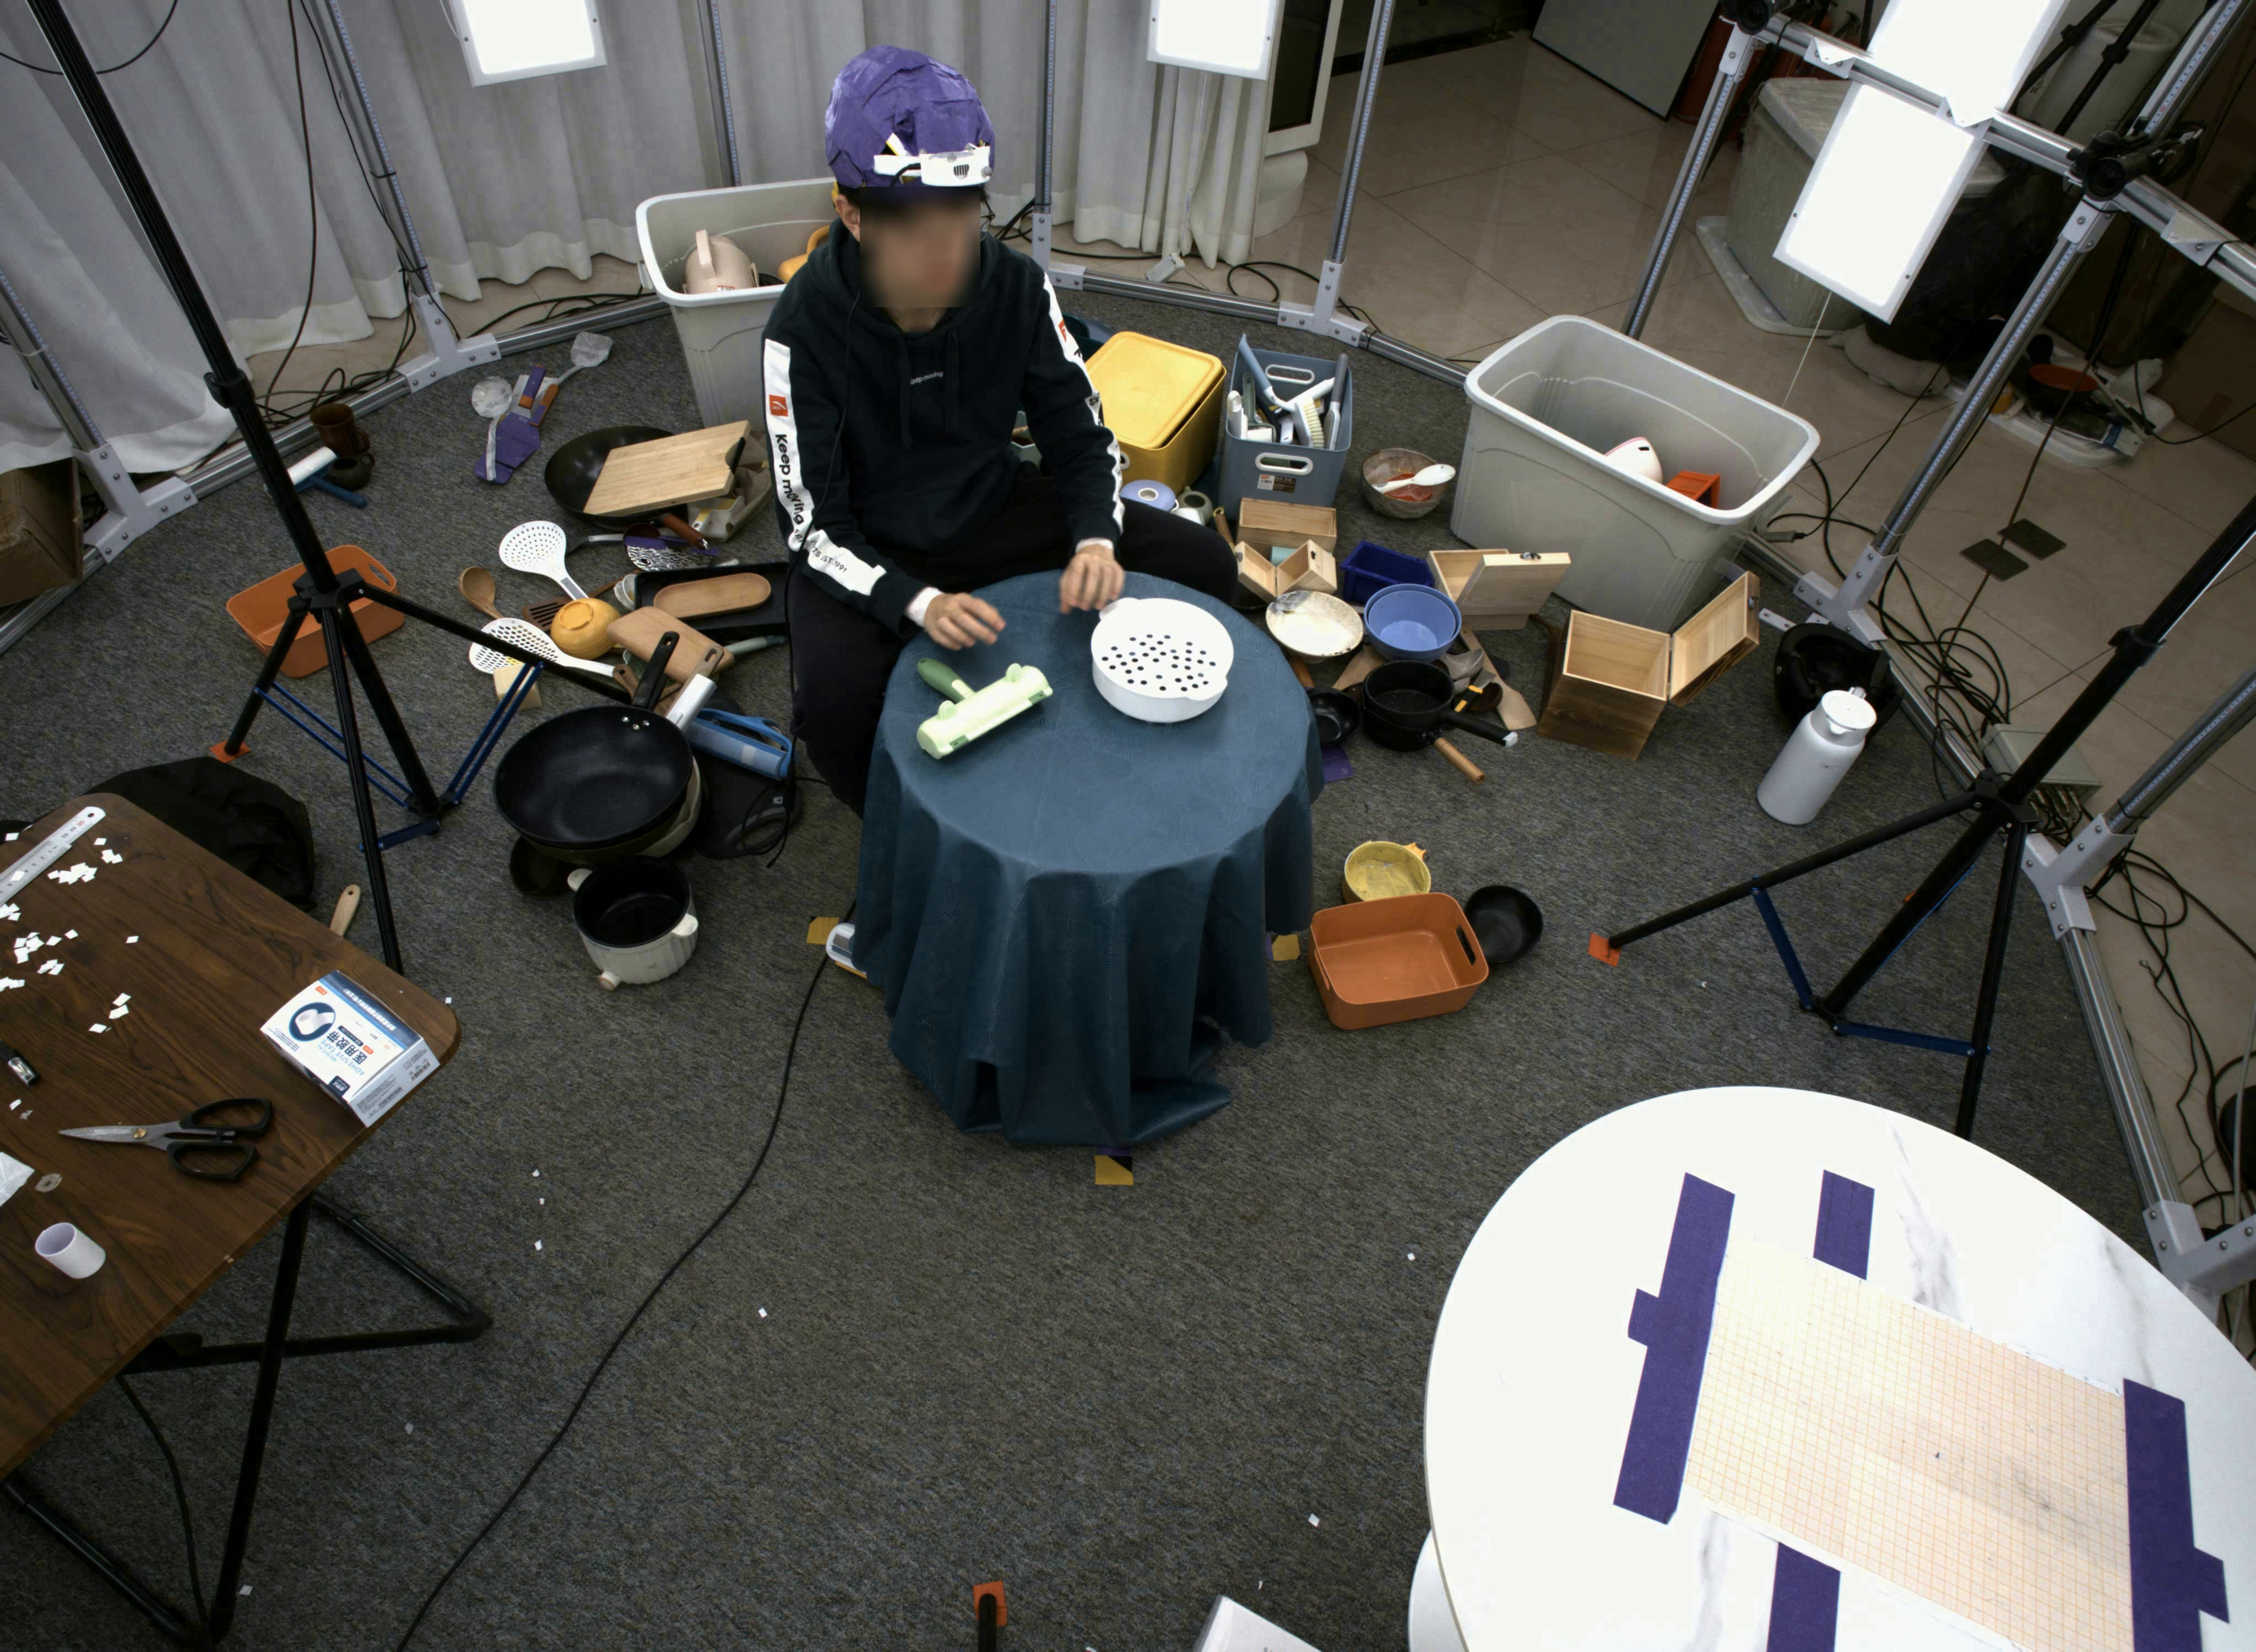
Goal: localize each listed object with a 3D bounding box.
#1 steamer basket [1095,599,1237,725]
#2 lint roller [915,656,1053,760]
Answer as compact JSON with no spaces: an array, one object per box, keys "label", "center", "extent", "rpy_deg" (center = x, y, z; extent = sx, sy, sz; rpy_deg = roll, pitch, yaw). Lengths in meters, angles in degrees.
[{"label":"steamer basket","center":[0.051,-0.232,1.827],"extent":[0.203,0.067,0.234],"rpy_deg":[-31,59,-26]},{"label":"lint roller","center":[-0.232,-0.197,1.773],"extent":[0.200,0.080,0.186],"rpy_deg":[-33,63,-27]}]
